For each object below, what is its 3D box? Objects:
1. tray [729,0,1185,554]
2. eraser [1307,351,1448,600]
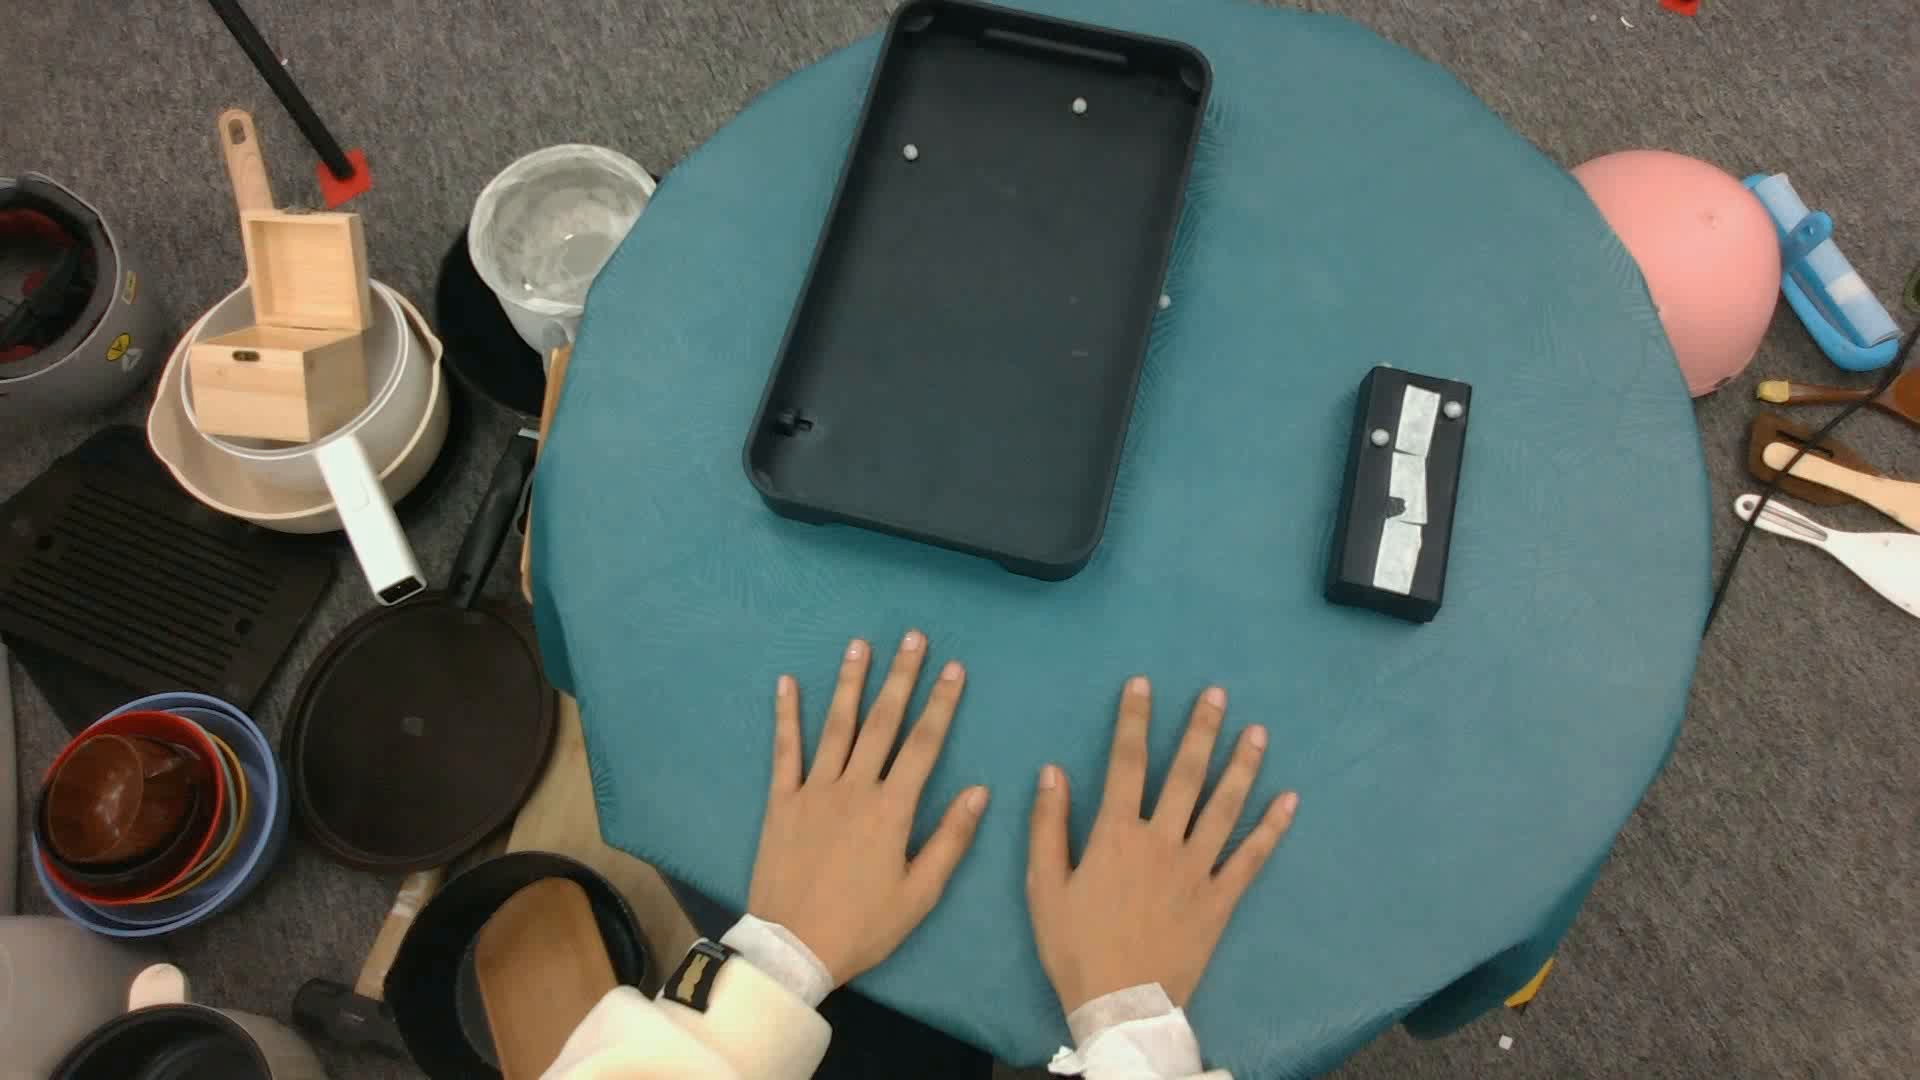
[{"bbox_3d":[0.006,-0.155,0.734,0.184,0.037,0.319,12,70,4],"label":"tray"},{"bbox_3d":[0.210,-0.034,0.695,0.053,0.030,0.126,11,70,8],"label":"eraser"}]
